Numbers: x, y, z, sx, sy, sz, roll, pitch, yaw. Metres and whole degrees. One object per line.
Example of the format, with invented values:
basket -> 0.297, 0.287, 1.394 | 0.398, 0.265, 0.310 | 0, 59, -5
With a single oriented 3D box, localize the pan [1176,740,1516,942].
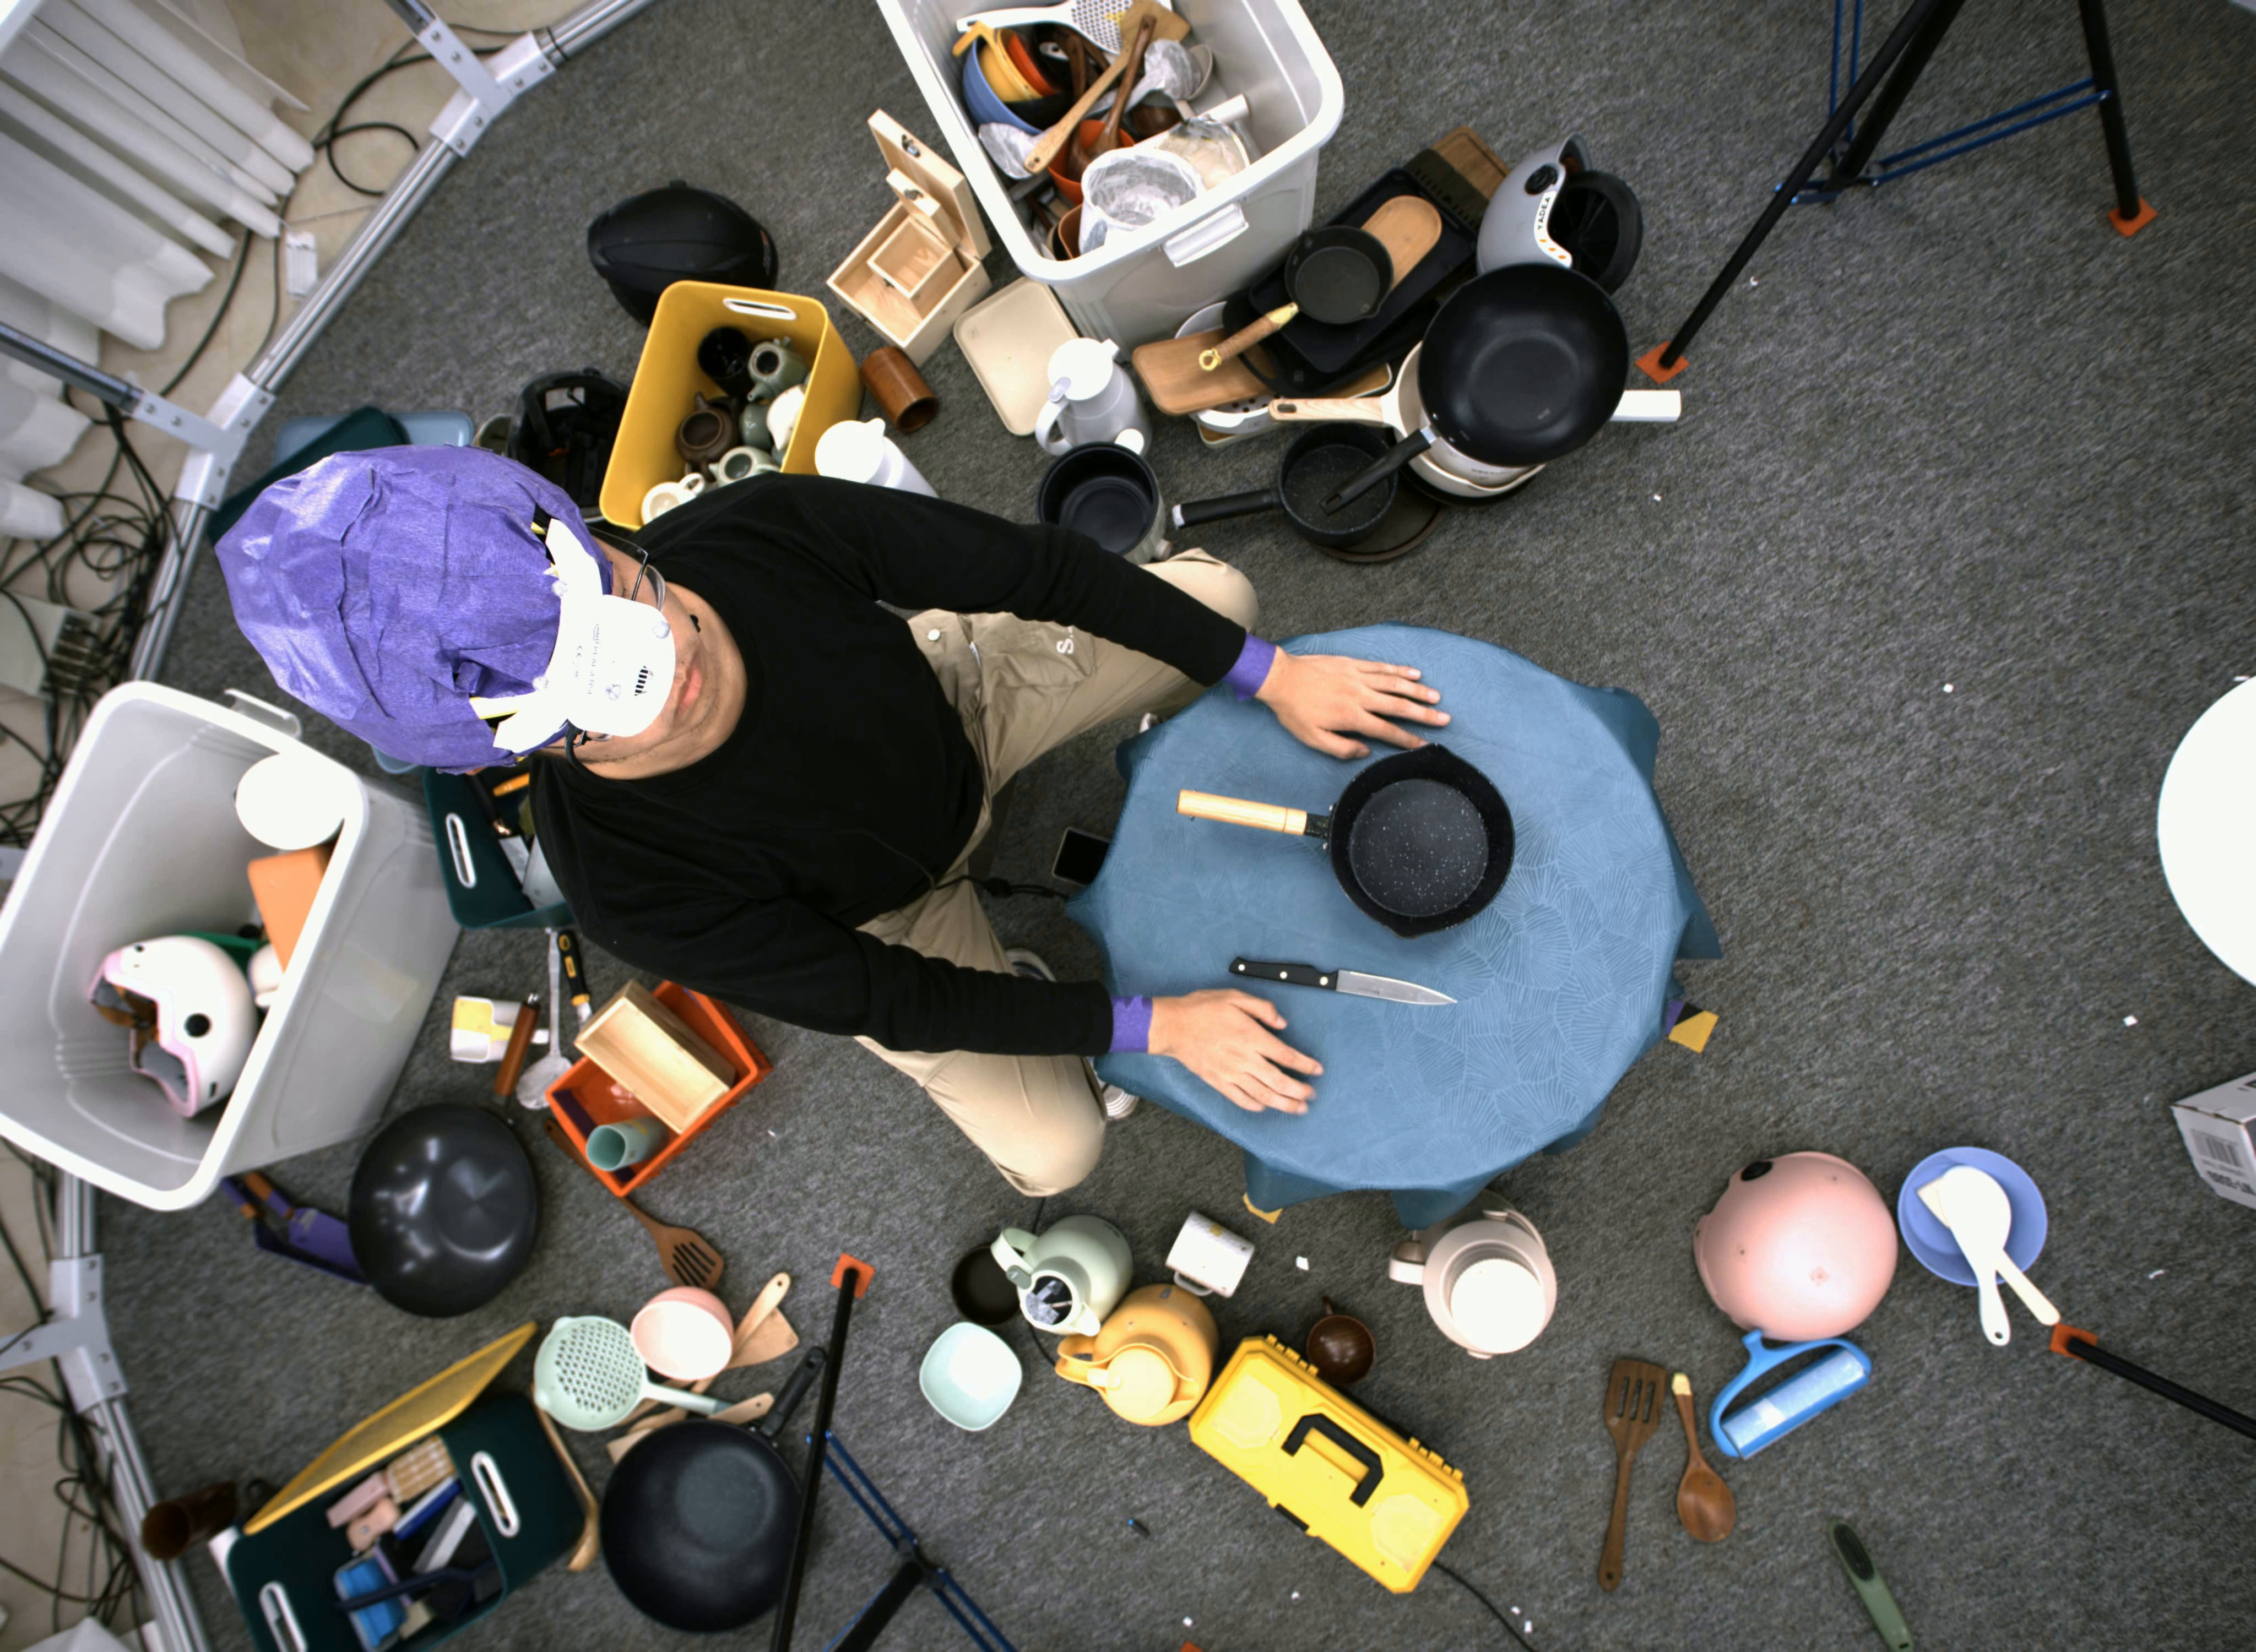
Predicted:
pan -> 0.221, 0.005, 1.420 | 0.343, 0.108, 0.207 | 9, 89, 10

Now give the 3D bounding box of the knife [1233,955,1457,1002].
knife -> 0.227, 0.163, 1.460 | 0.238, 0.016, 0.024 | 8, 85, 8
